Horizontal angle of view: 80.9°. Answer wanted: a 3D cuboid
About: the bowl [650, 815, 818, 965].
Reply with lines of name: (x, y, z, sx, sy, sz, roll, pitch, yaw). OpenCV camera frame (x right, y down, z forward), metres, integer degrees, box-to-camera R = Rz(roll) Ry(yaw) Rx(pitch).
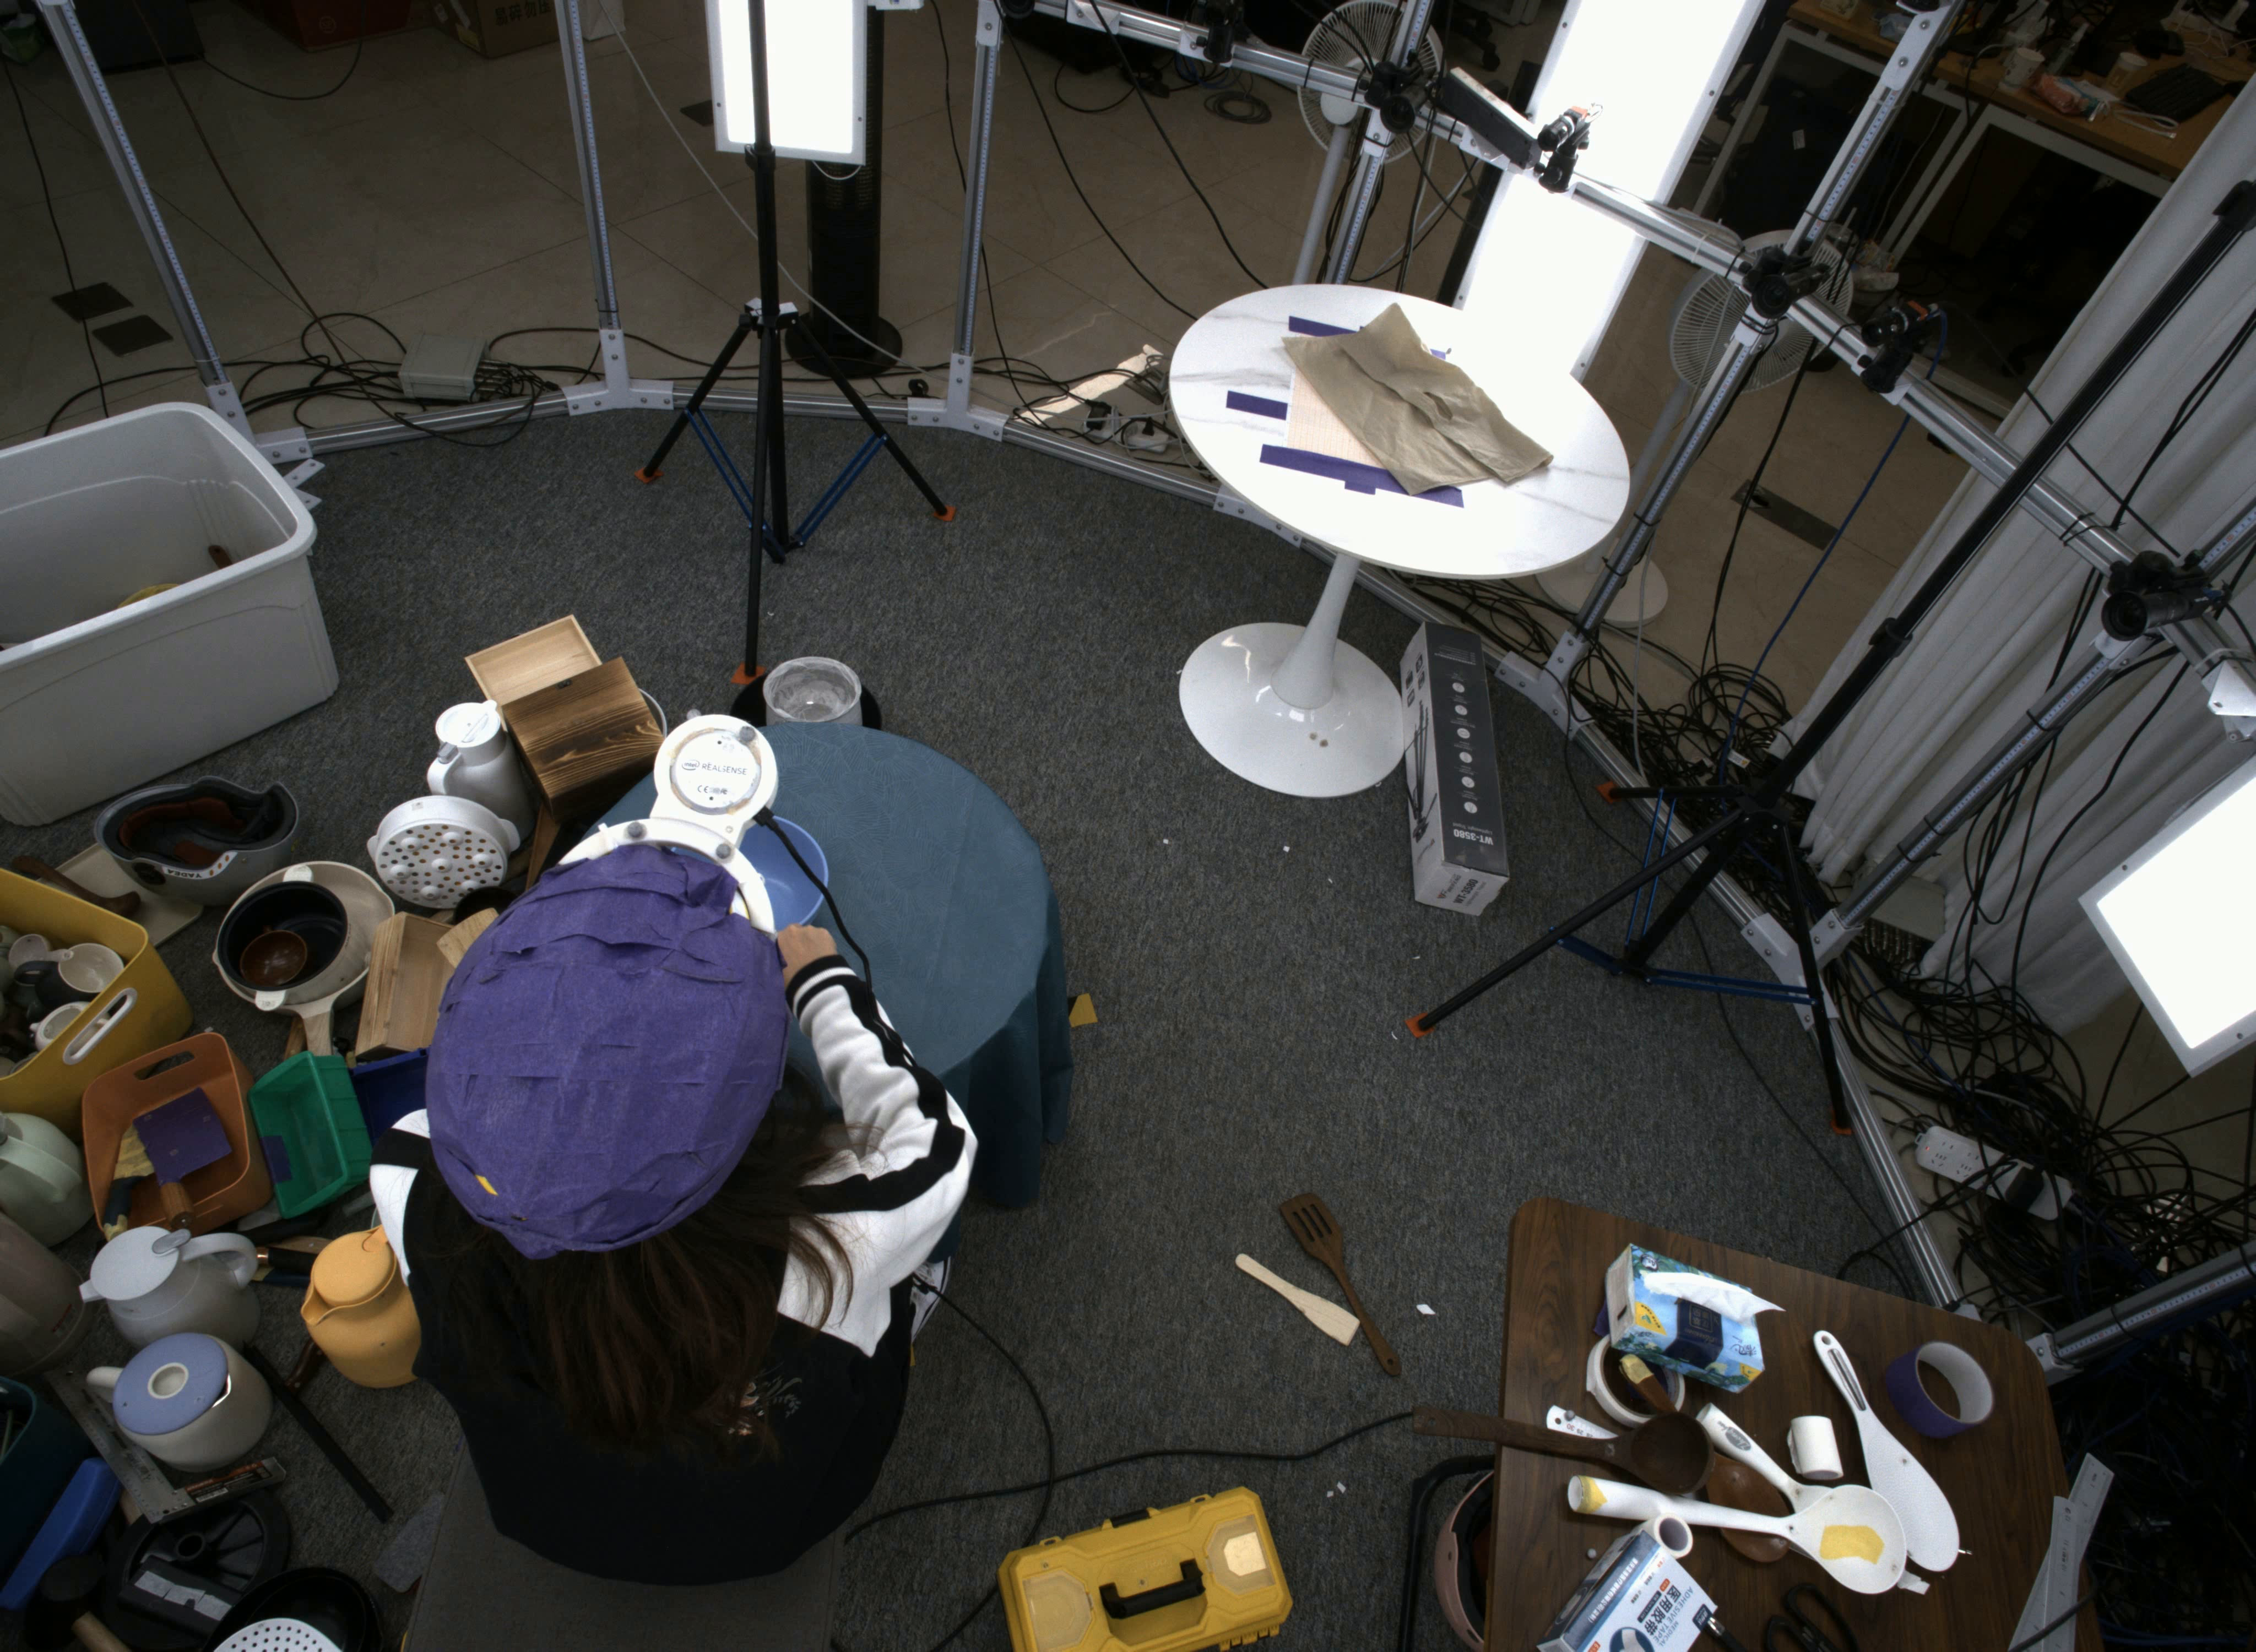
bowl: (-0.478, 0.091, 1.580, 0.196, 0.097, 0.193, 9, 53, -10)

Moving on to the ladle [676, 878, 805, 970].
ladle: (-0.441, 0.132, 1.507, 0.245, 0.075, 0.072, 28, 53, 34)
